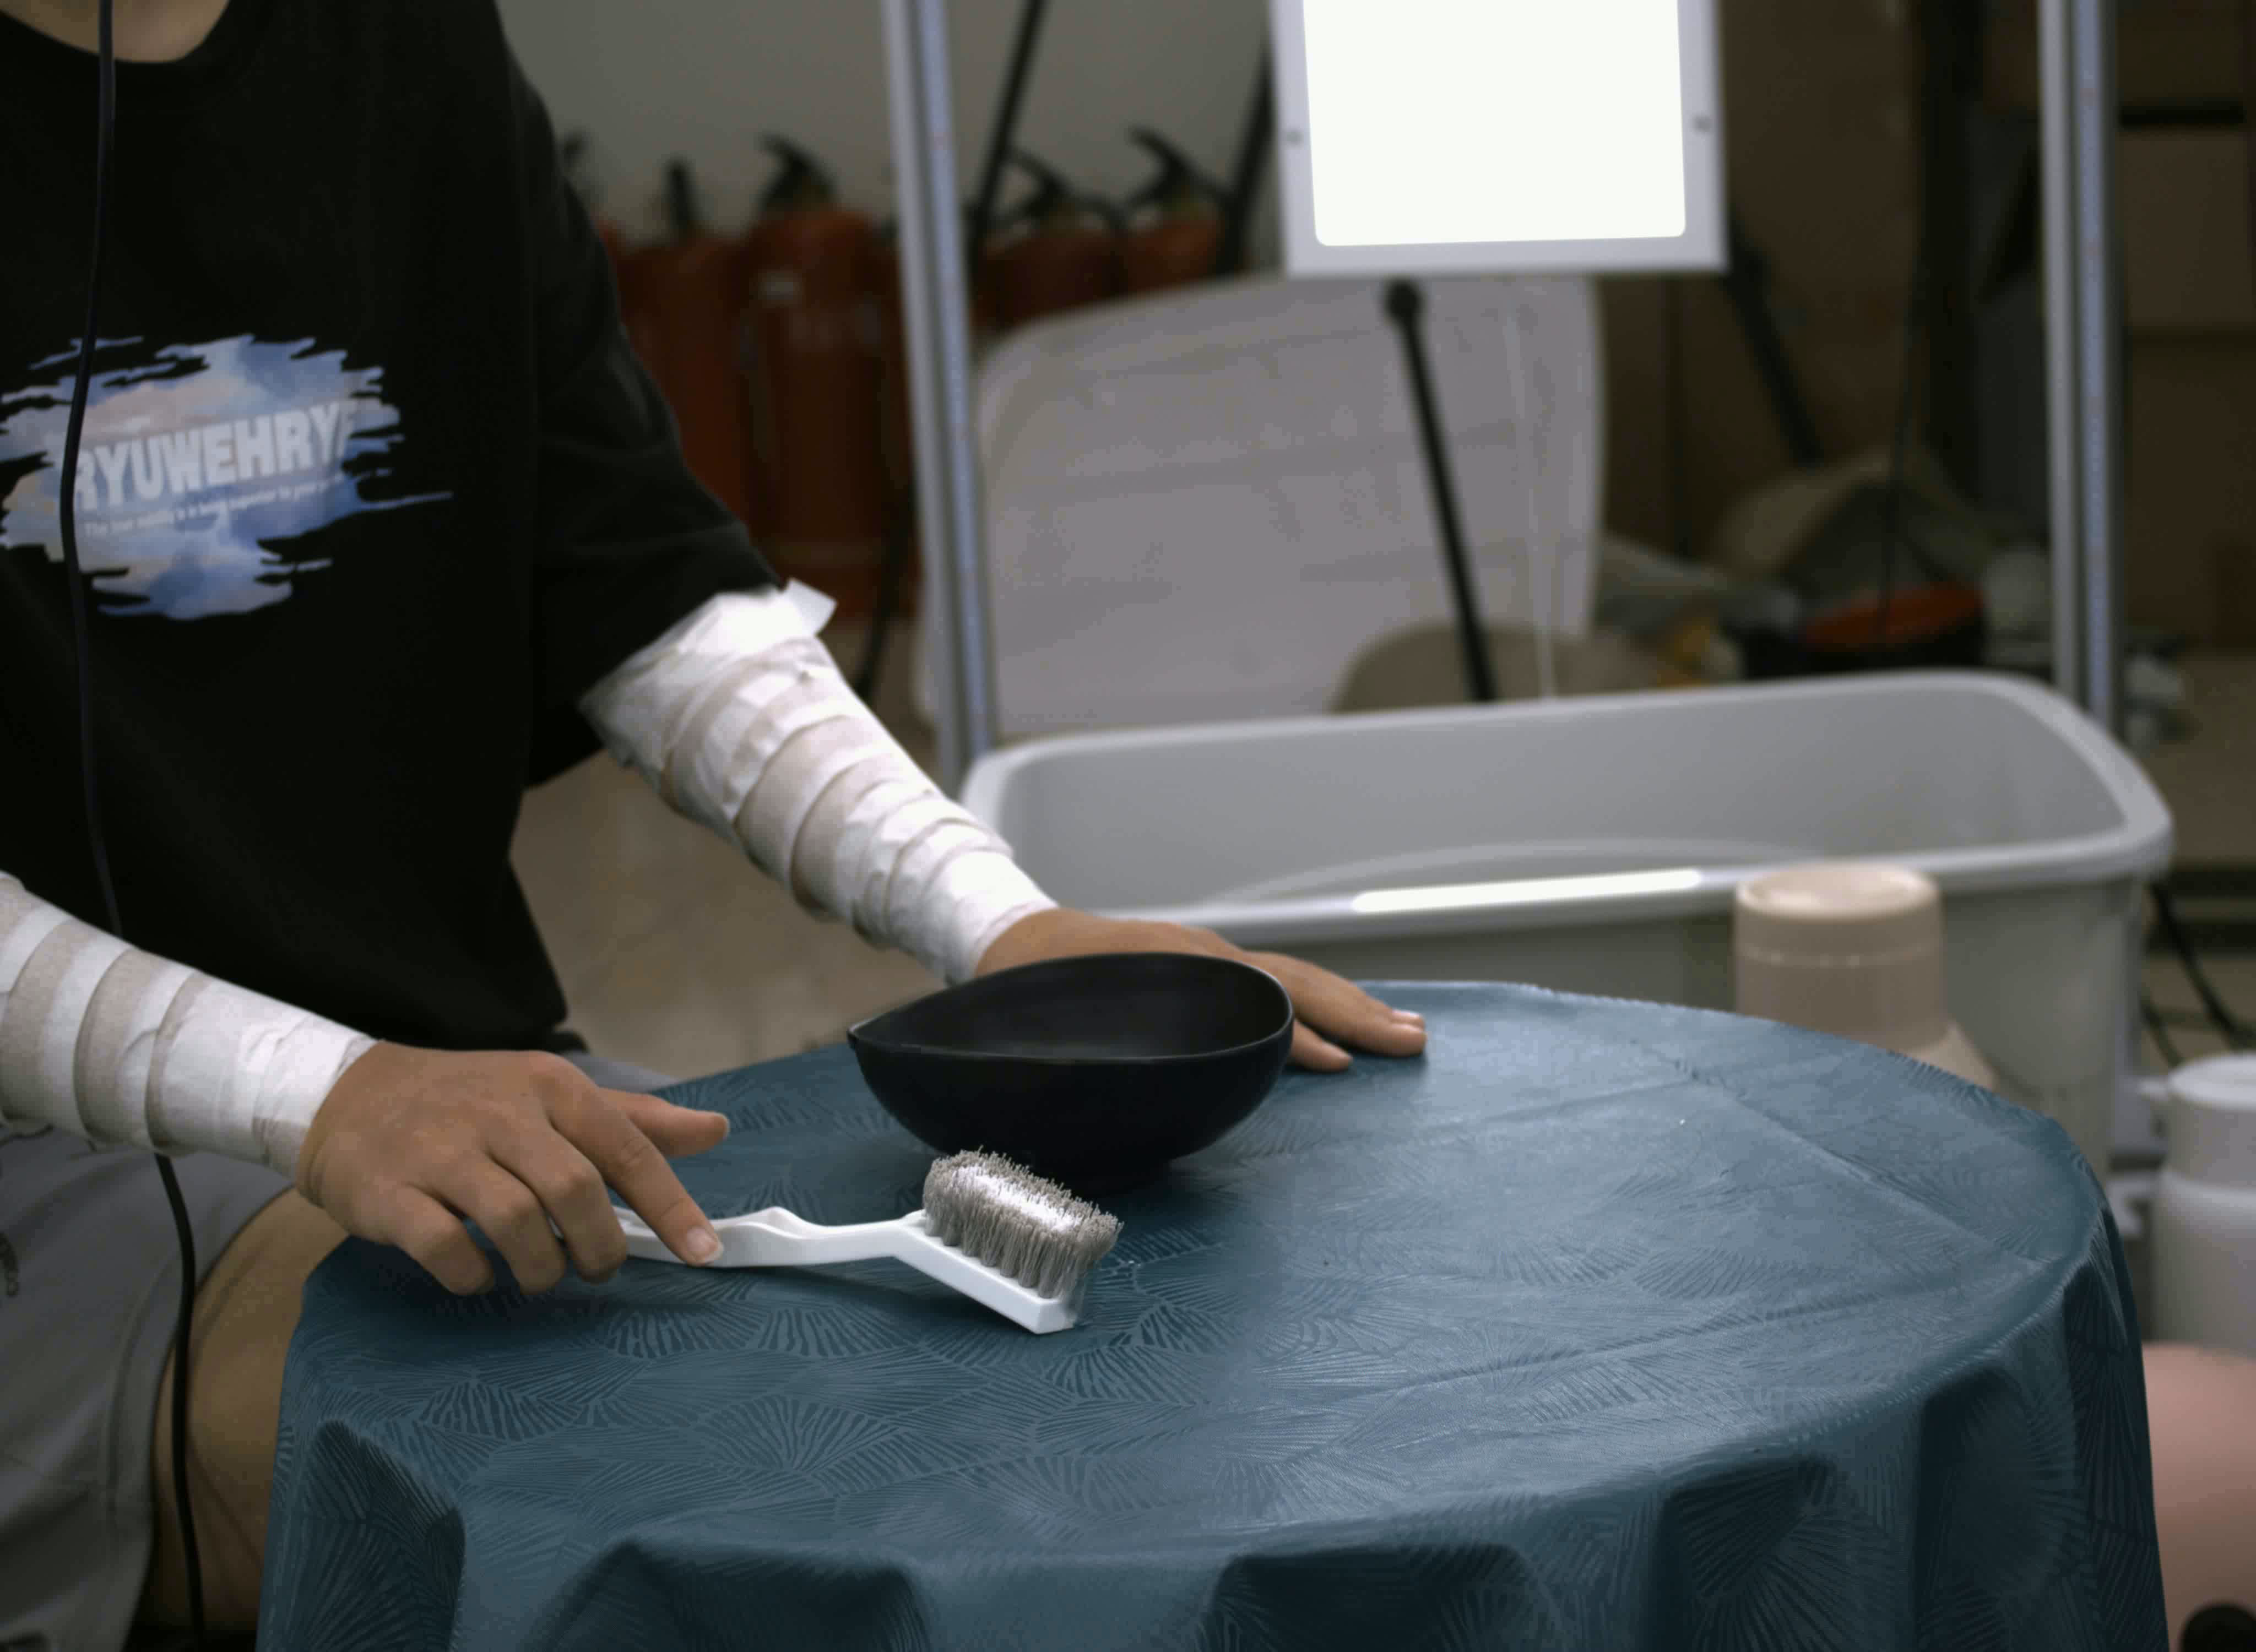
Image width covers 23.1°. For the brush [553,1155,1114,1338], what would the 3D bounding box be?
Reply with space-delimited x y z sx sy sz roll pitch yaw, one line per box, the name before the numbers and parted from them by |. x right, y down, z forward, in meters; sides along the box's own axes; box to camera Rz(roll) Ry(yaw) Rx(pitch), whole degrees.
brush | -0.104 0.126 1.833 0.249 0.050 0.033 8 18 41

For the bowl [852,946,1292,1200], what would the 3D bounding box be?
bowl | -0.019 0.090 1.918 0.174 0.067 0.134 3 16 37
